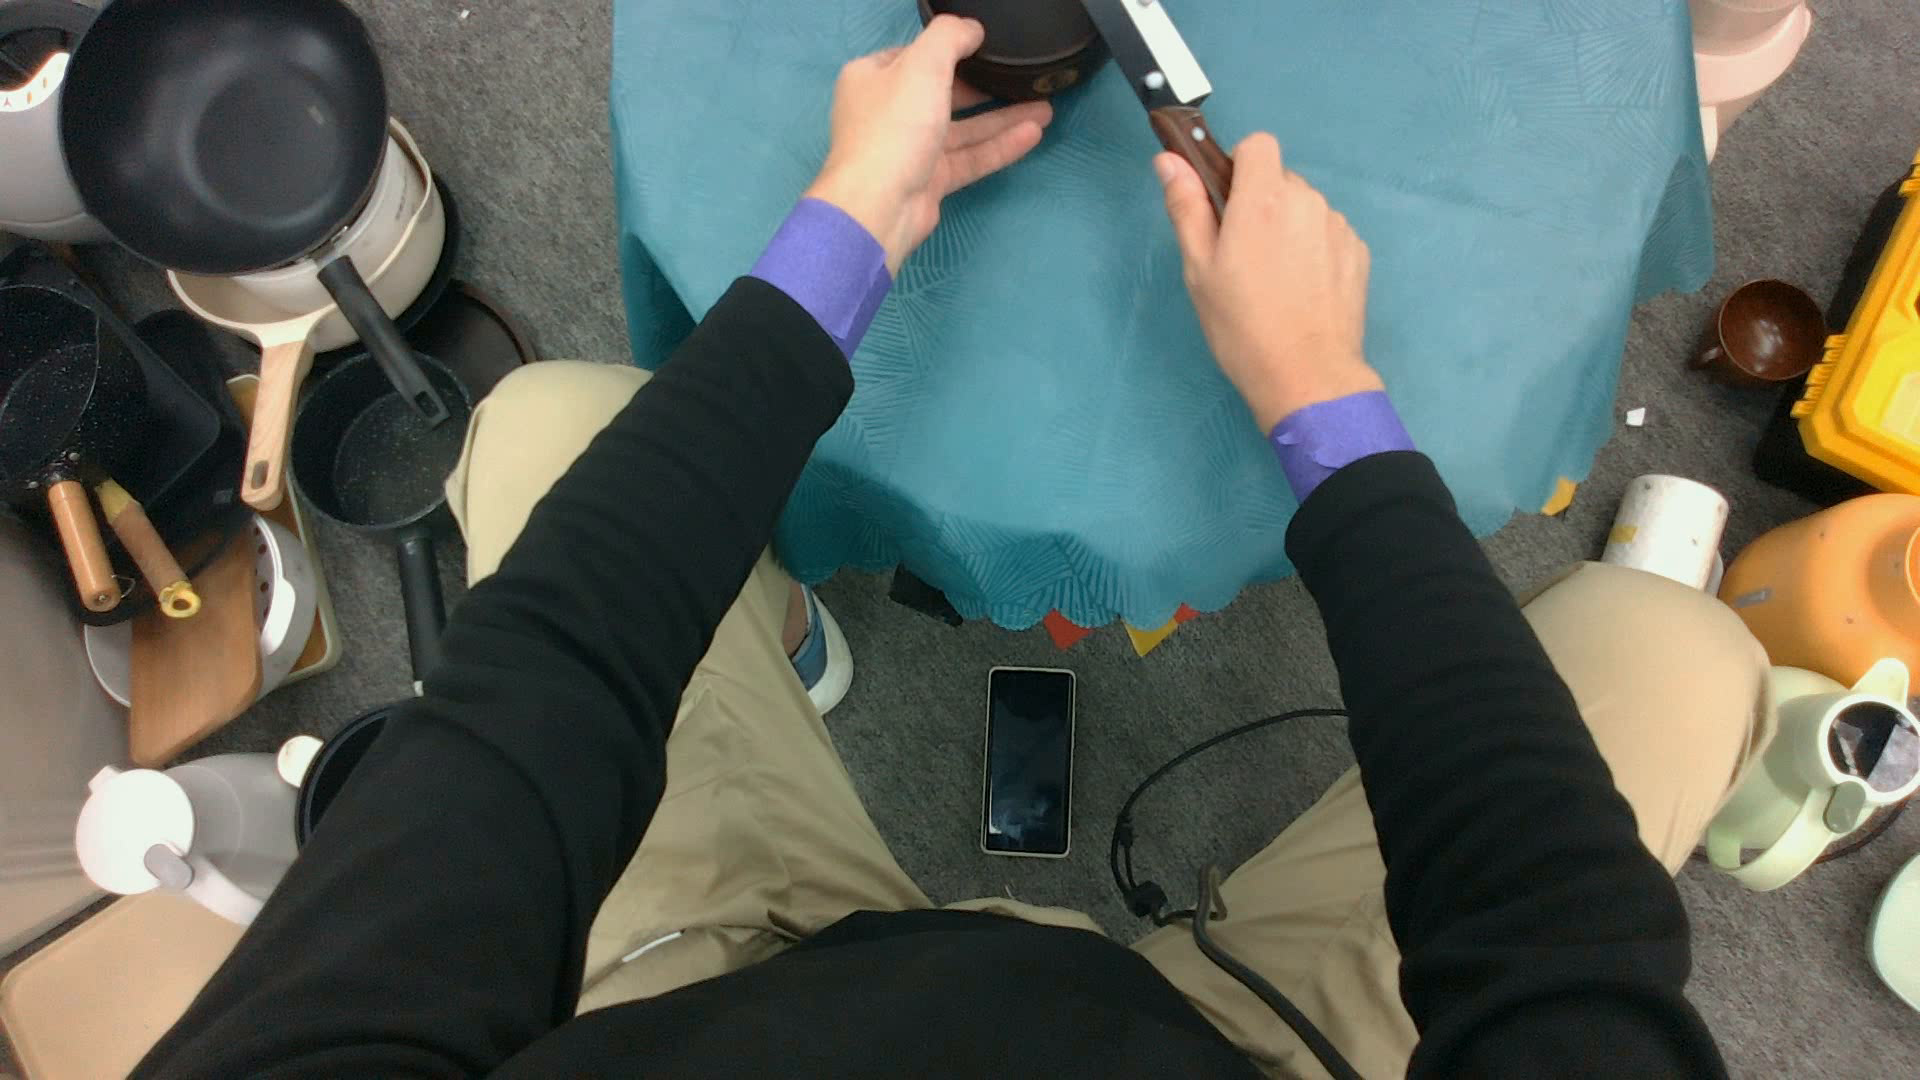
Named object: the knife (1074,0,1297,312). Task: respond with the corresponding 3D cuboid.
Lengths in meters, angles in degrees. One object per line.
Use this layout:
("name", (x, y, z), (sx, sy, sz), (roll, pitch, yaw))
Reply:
("knife", (0.093, -0.245, 0.697), (0.050, 0.020, 0.289), (-28, 89, -30))

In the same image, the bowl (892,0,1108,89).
("bowl", (0.022, -0.297, 0.742), (0.118, 0.070, 0.118), (0, 80, 3))
